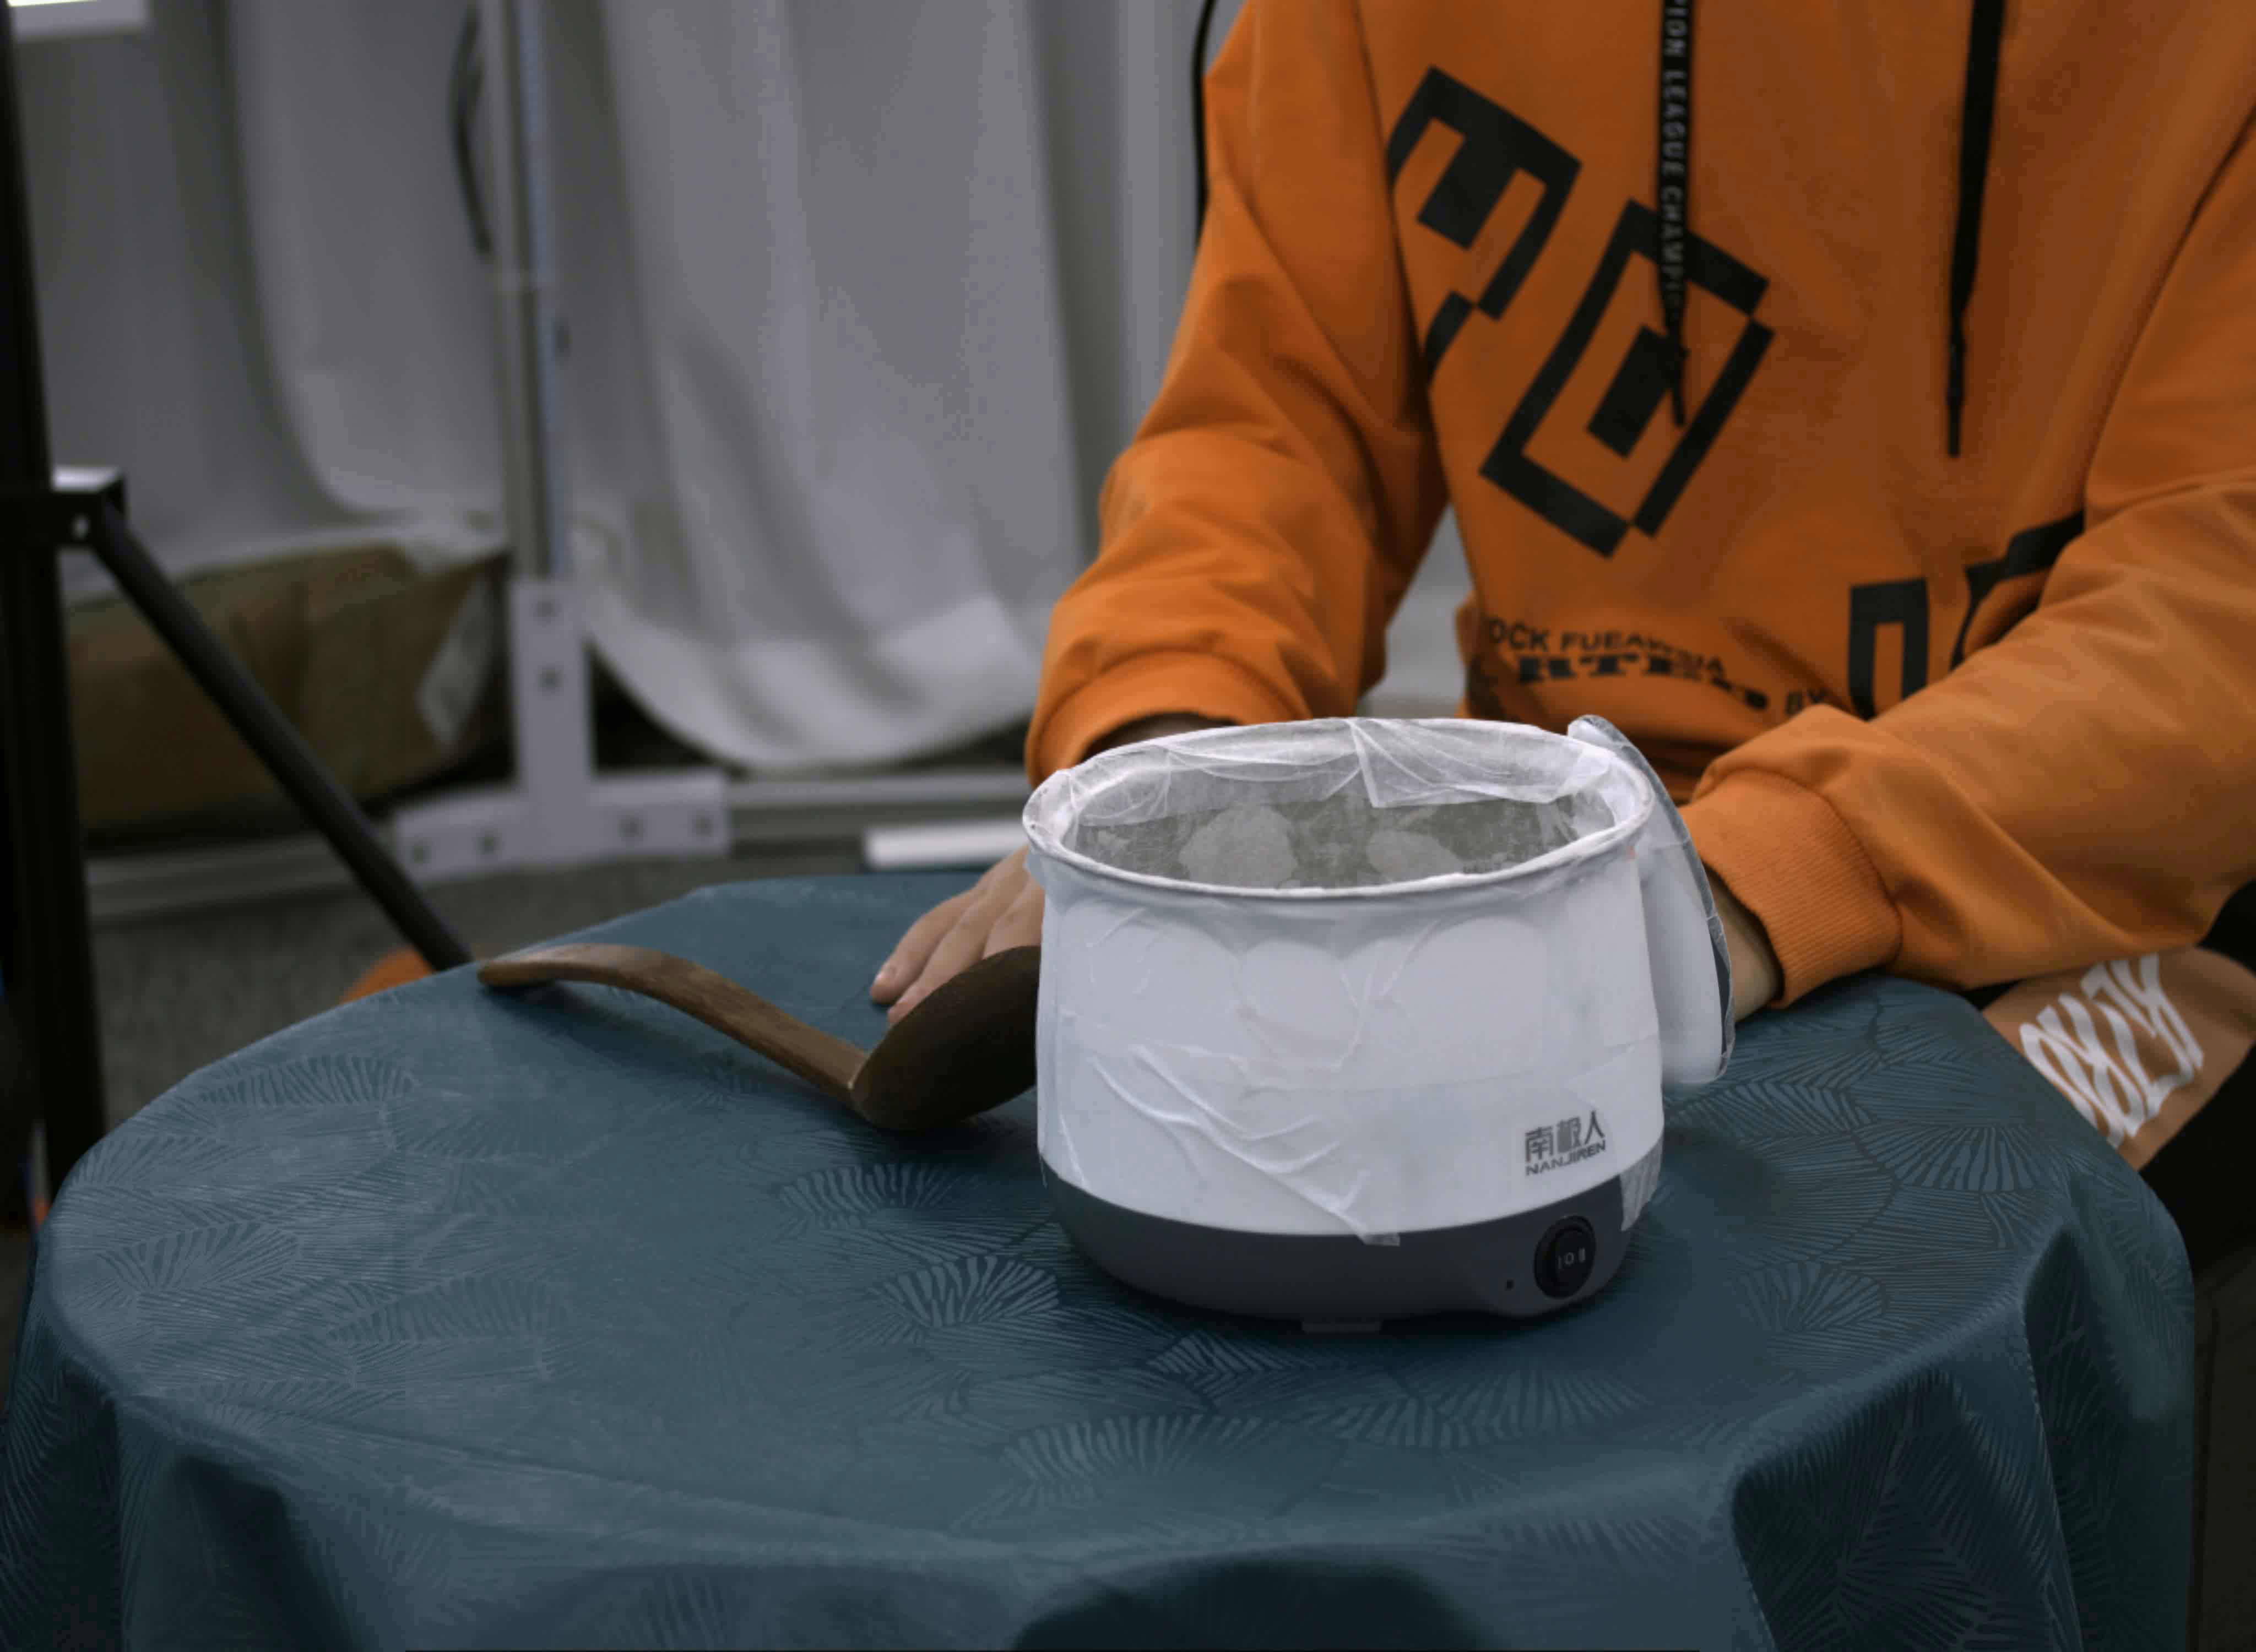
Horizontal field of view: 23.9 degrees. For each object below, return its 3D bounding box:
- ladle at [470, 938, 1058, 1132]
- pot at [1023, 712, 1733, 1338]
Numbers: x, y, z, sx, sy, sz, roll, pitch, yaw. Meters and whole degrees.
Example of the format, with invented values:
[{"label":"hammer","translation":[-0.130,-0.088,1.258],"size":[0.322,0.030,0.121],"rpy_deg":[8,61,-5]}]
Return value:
[{"label":"ladle","translation":[-0.121,0.043,1.679],"size":[0.074,0.071,0.280],"rpy_deg":[-11,18,-39]},{"label":"pot","translation":[0.082,0.048,1.504],"size":[0.228,0.136,0.183],"rpy_deg":[-16,21,-38]}]
